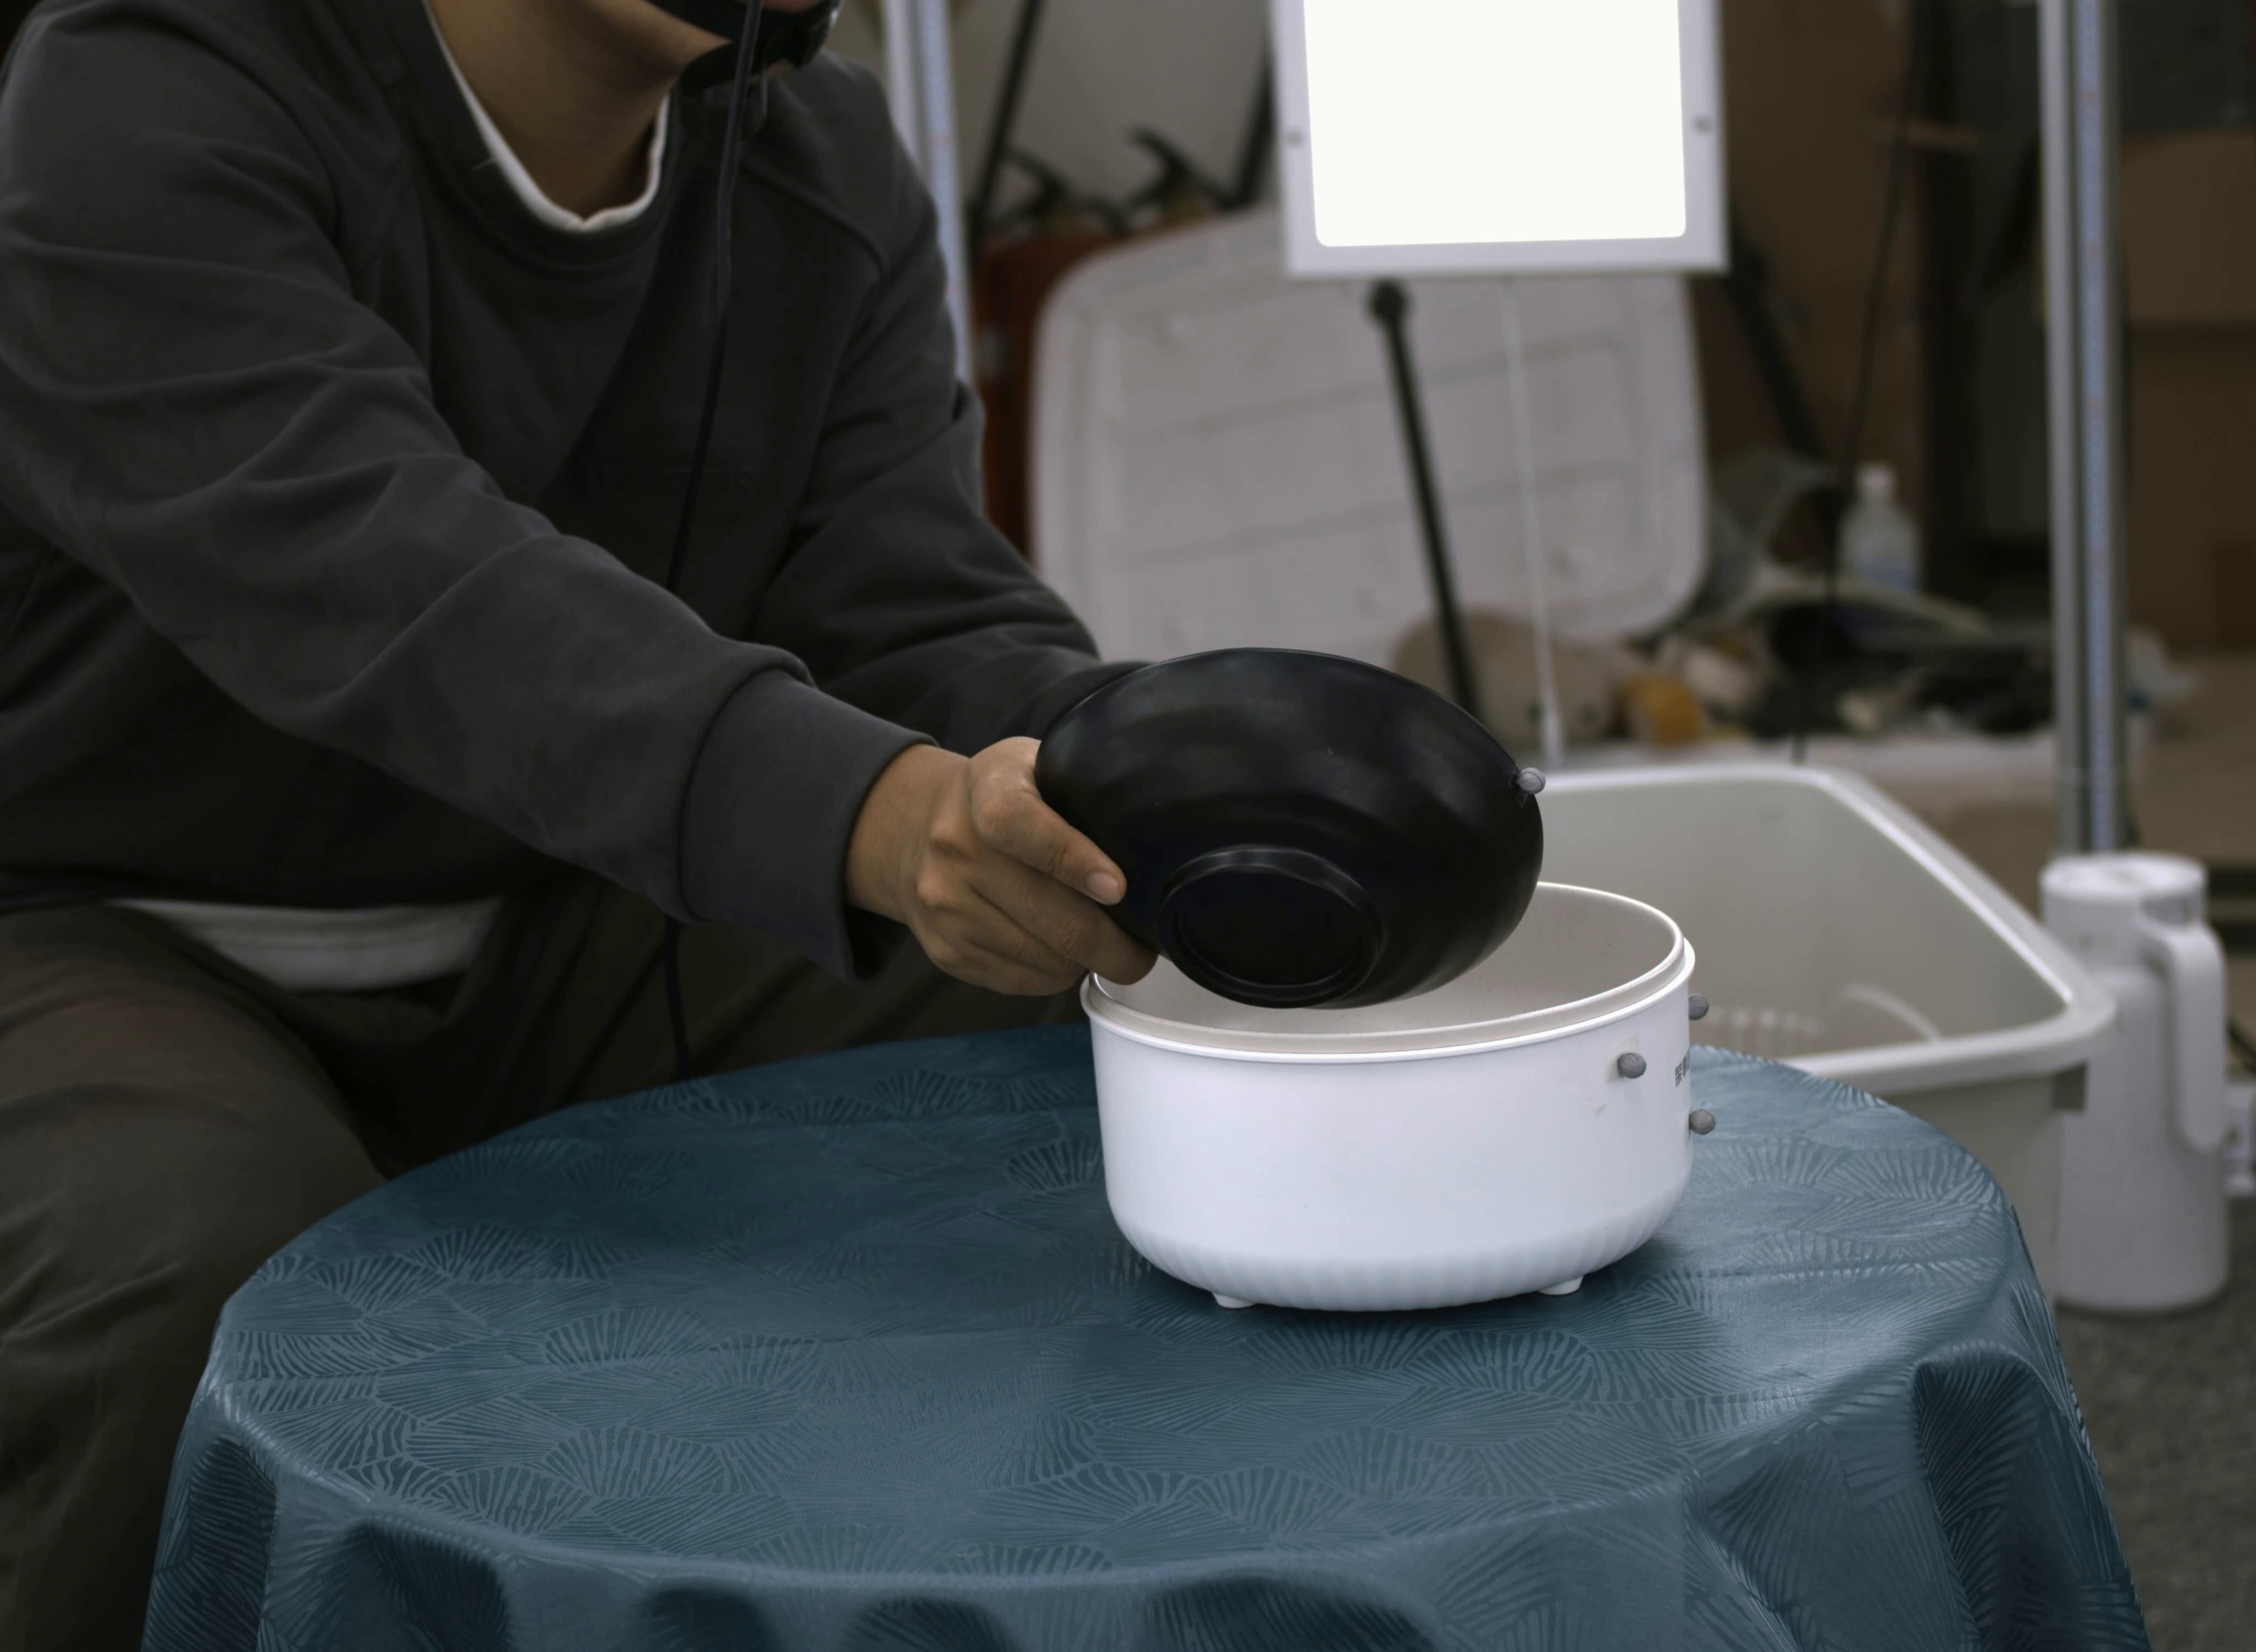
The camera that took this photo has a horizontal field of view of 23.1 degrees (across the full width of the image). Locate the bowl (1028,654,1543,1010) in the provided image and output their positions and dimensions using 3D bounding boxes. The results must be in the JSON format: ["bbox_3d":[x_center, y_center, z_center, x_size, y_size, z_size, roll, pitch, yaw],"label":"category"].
[{"bbox_3d":[0.050,0.012,1.739,0.168,0.140,0.066,22,48,-14],"label":"bowl"}]

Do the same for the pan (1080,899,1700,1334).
[{"bbox_3d":[0.095,0.081,1.878,0.202,0.102,0.352,-7,11,7],"label":"pan"}]
